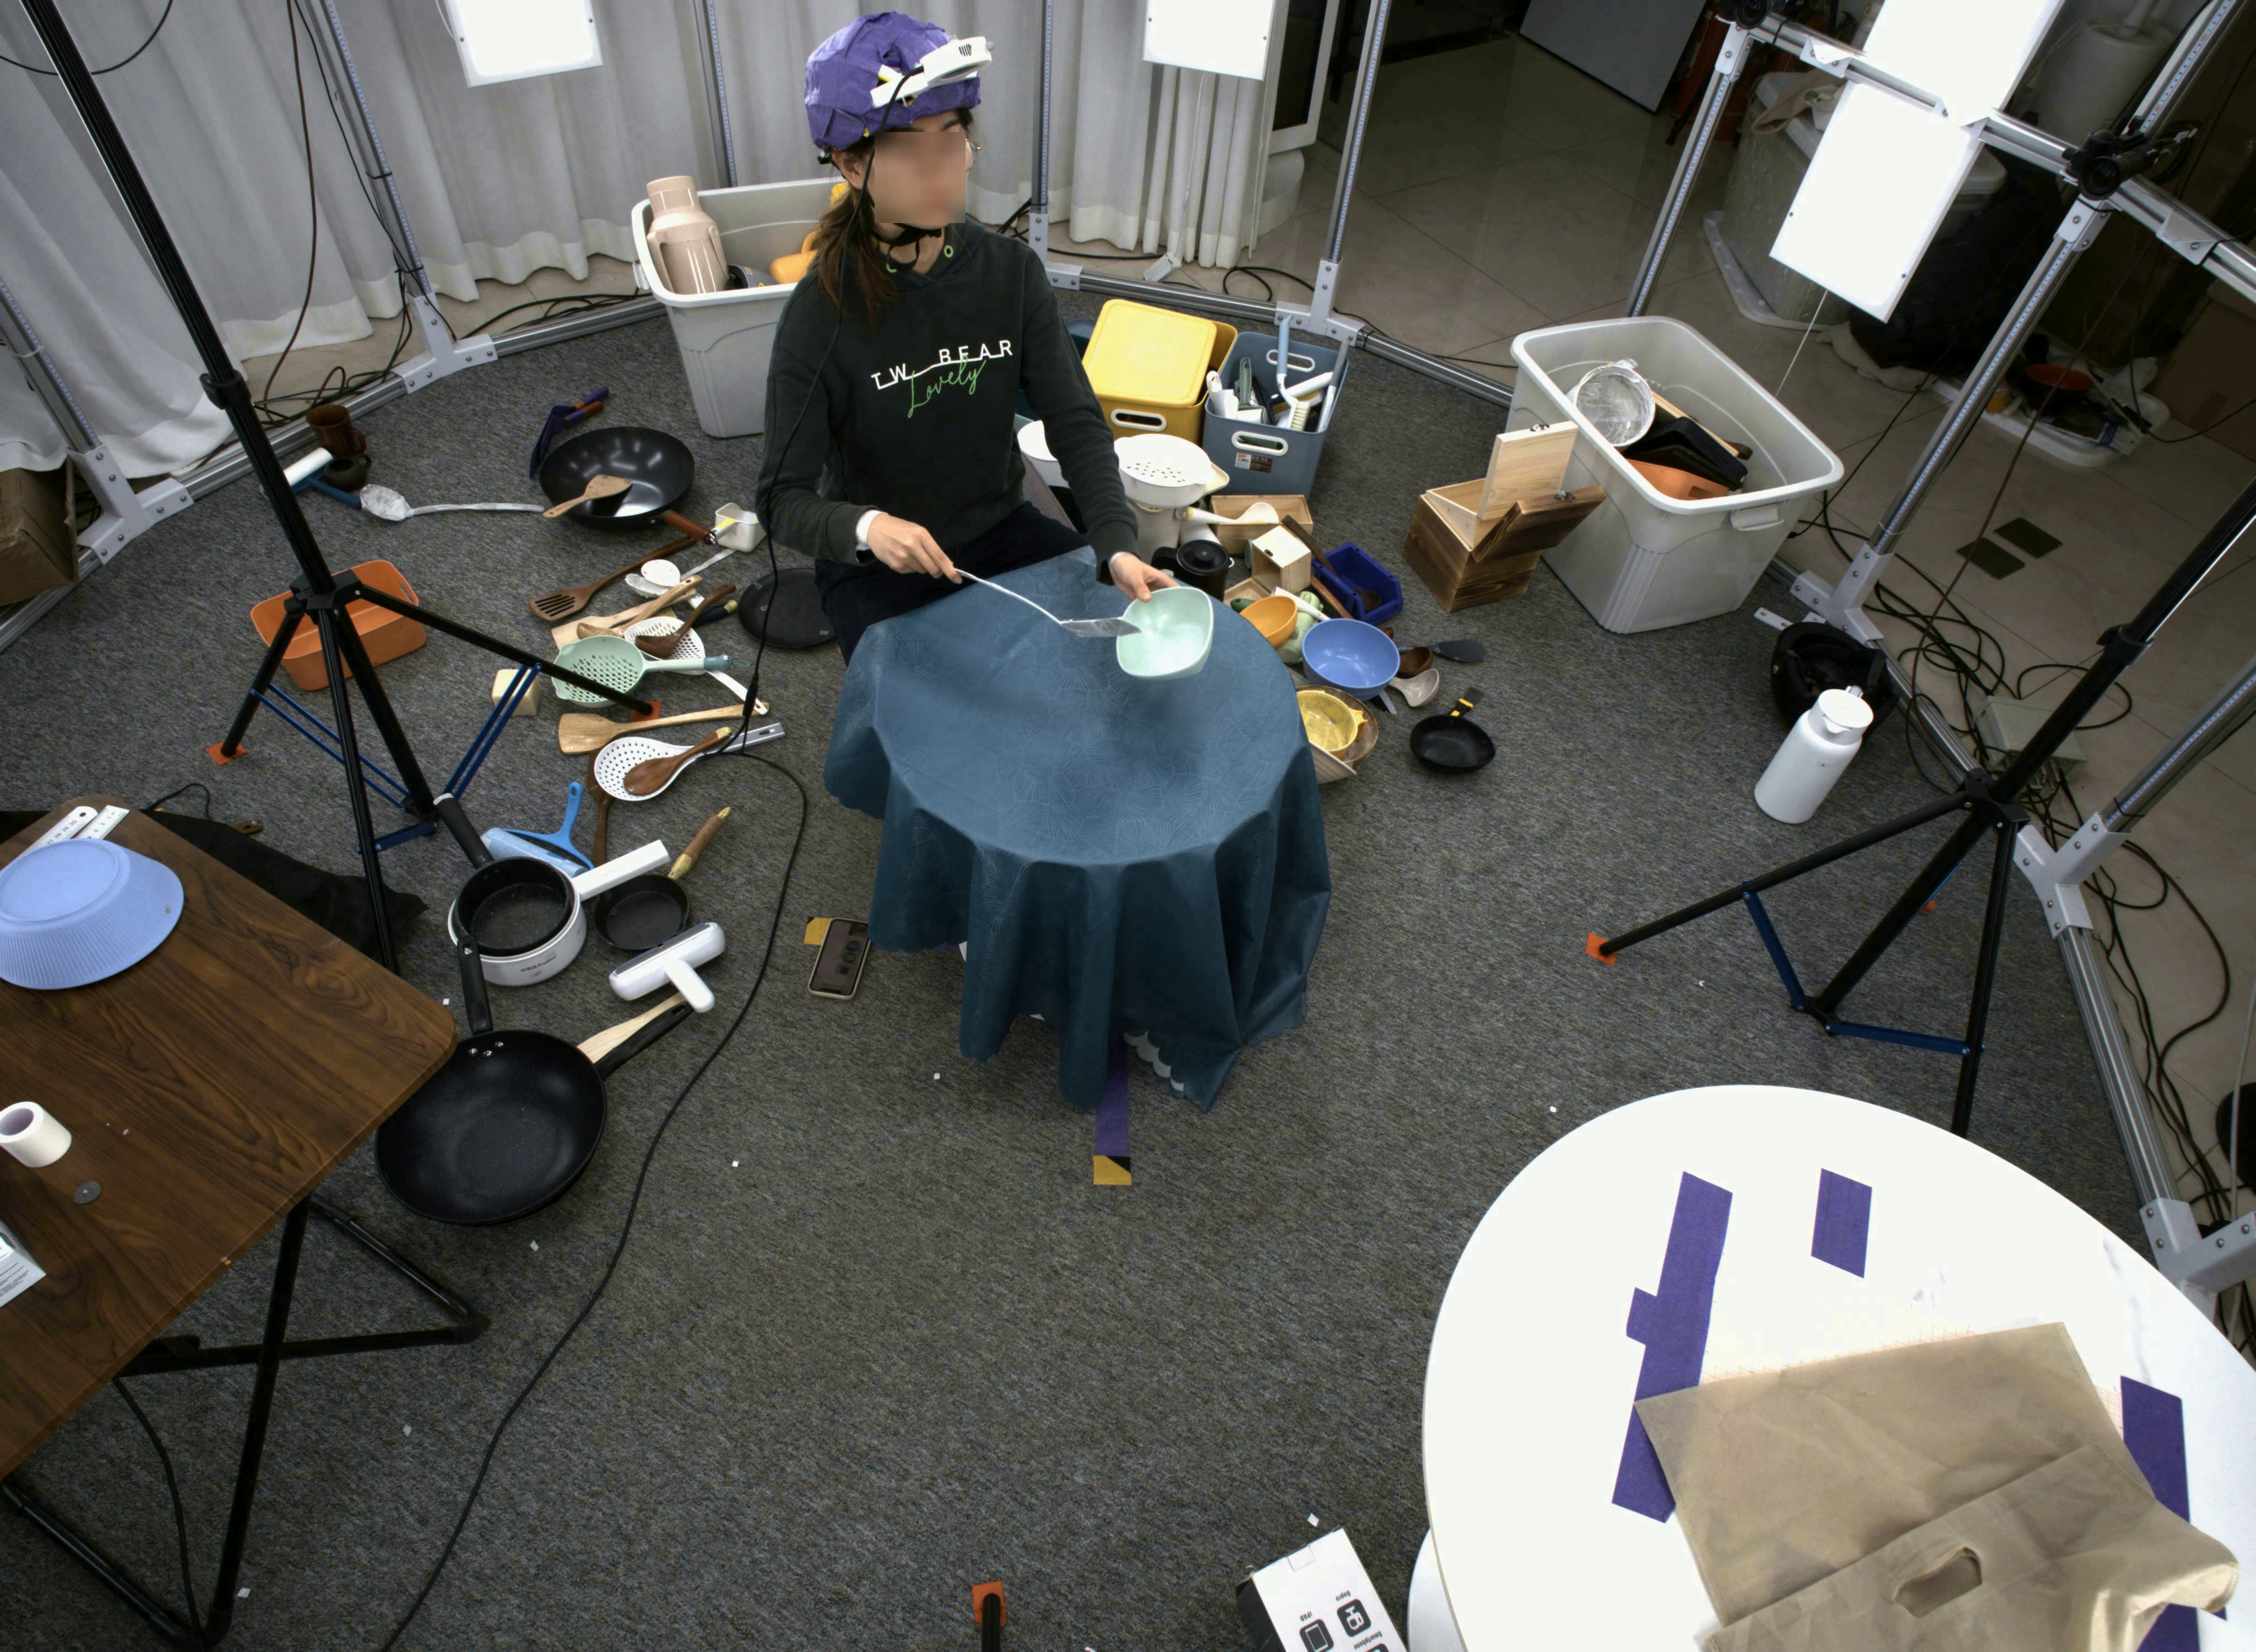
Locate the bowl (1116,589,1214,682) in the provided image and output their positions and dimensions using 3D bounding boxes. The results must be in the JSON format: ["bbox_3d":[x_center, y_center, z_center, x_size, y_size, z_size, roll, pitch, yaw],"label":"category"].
[{"bbox_3d":[0.058,-0.251,1.762,0.151,0.057,0.154,-10,61,19],"label":"bowl"}]

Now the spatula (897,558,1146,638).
[{"bbox_3d":[-0.150,-0.308,1.699,0.368,0.098,0.044,25,95,17],"label":"spatula"}]
